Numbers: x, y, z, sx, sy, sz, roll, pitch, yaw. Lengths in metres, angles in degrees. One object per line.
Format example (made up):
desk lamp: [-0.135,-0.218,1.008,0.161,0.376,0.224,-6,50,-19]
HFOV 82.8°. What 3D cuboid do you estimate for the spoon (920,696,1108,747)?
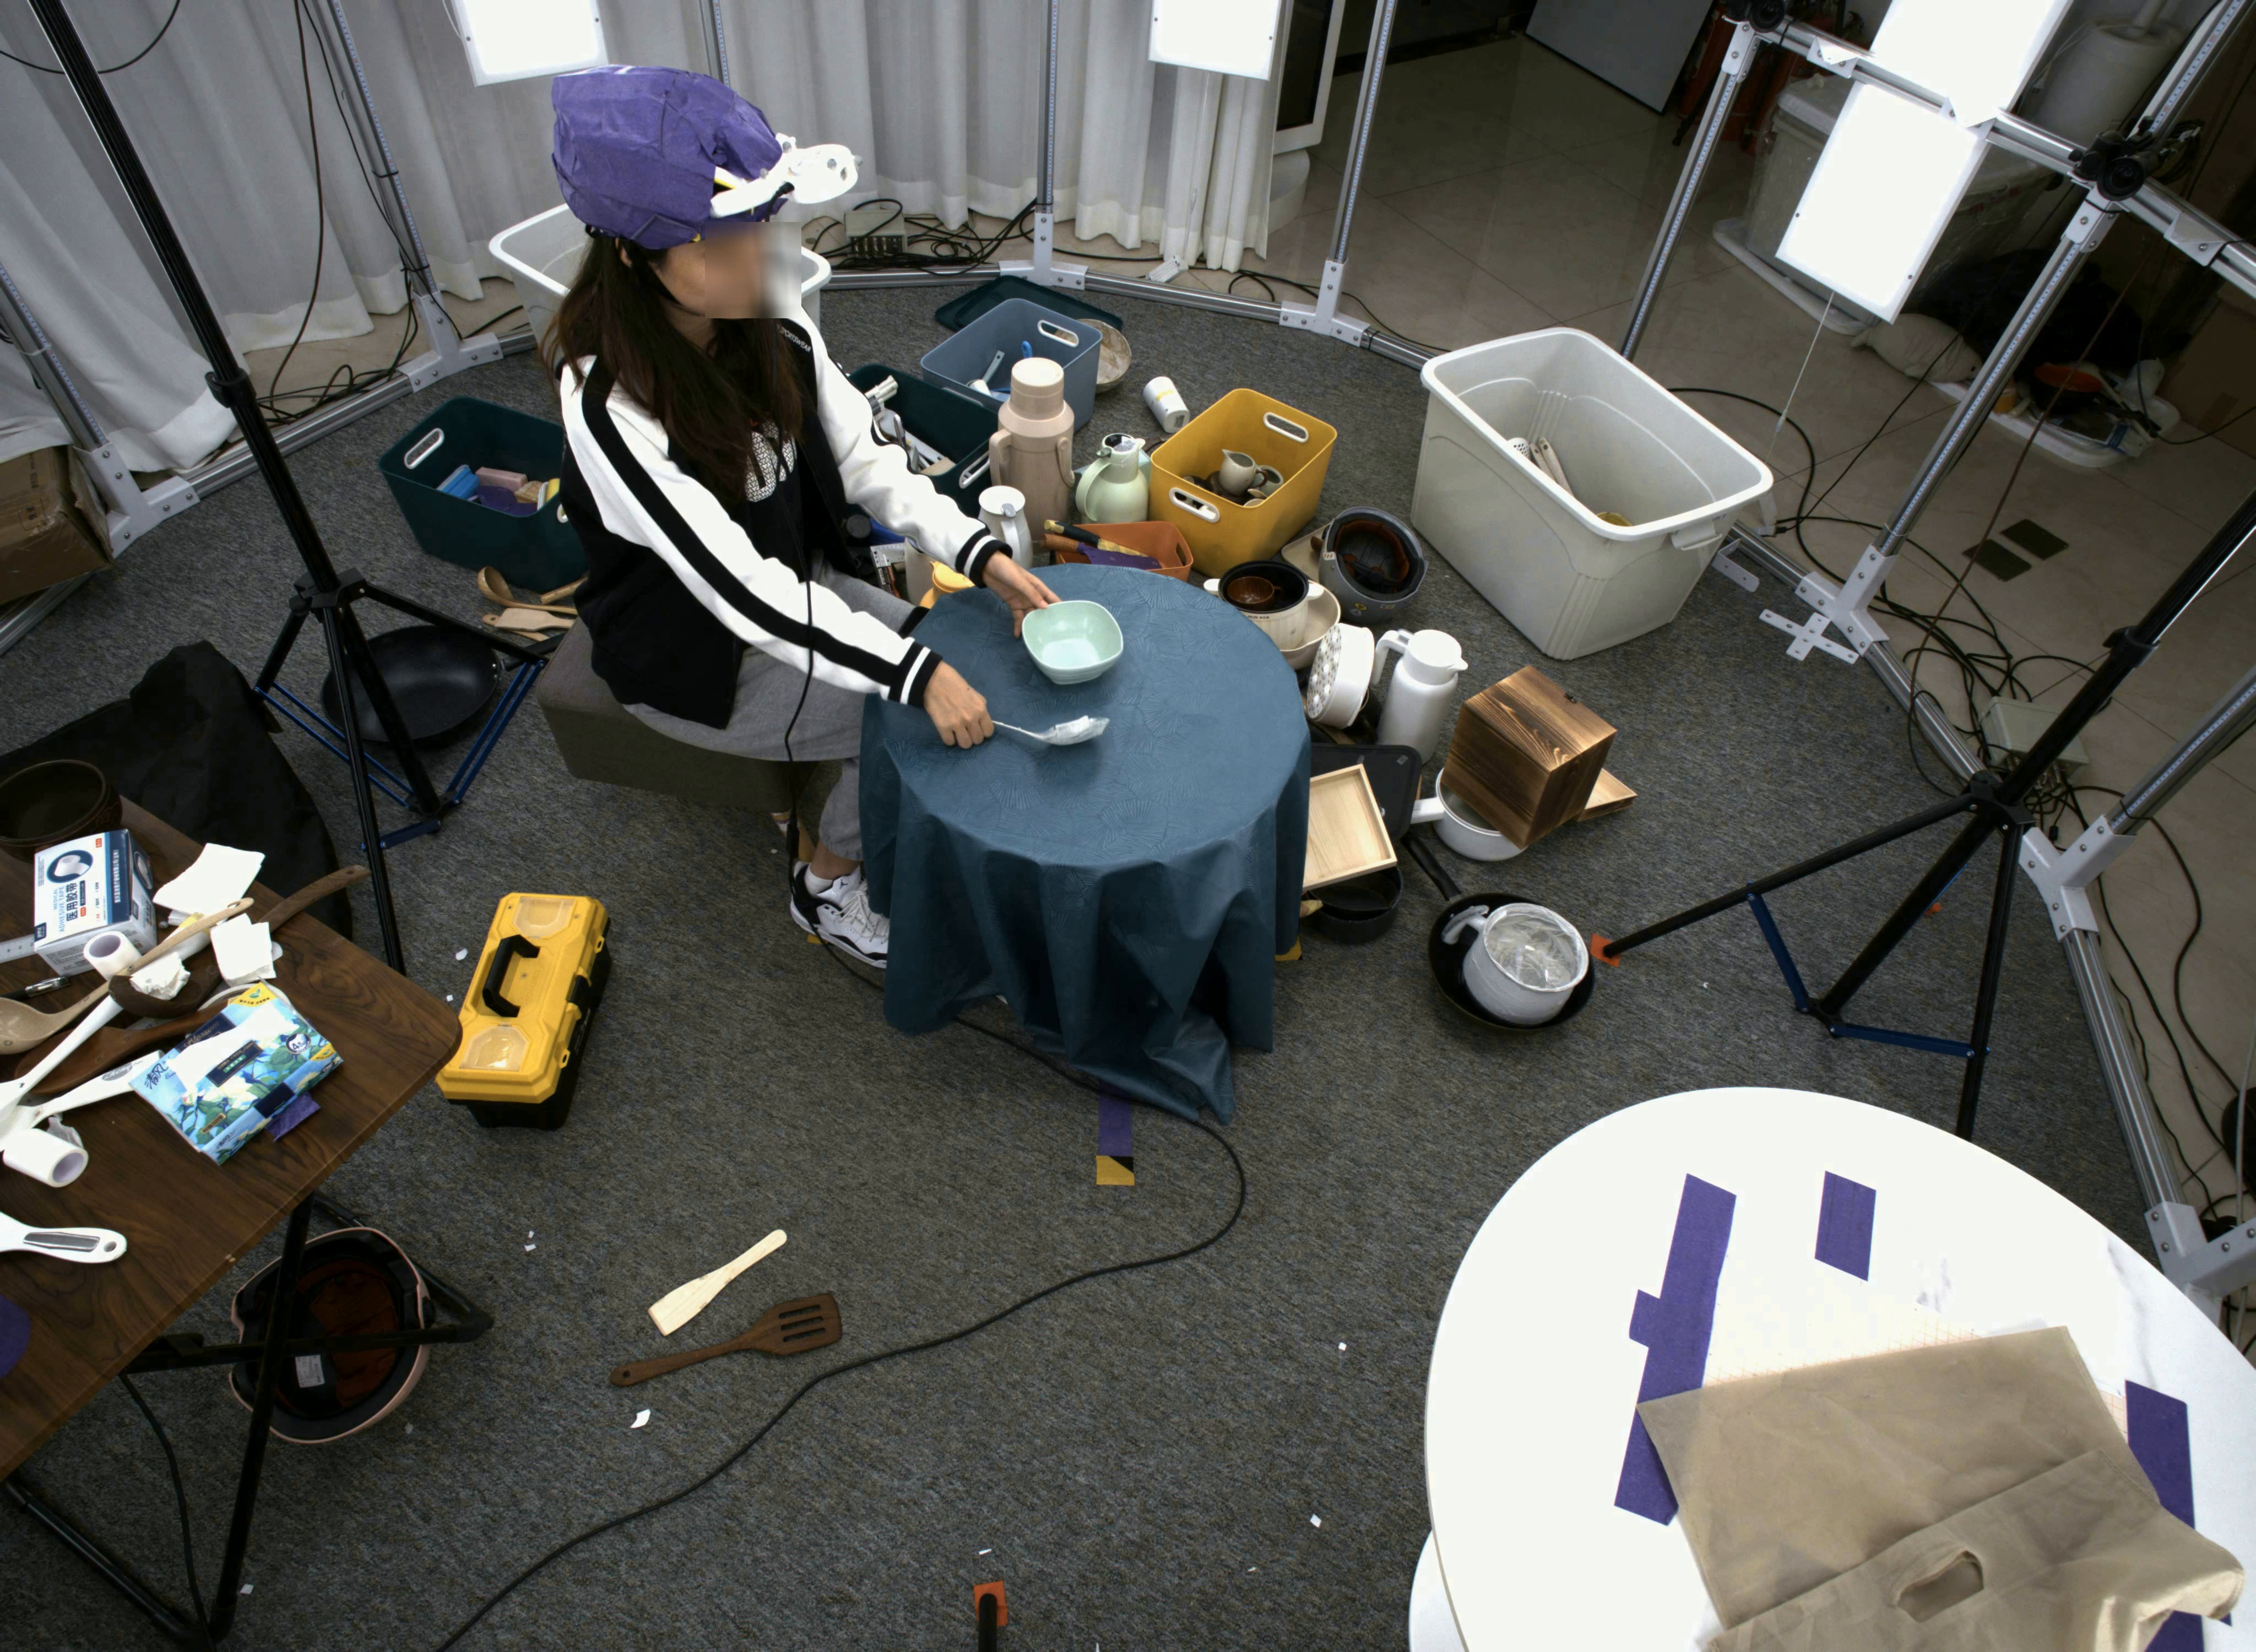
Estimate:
spoon: [-0.160,-0.161,1.767,0.280,0.100,0.059,20,90,22]

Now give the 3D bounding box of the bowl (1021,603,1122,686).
bowl: [-0.081,-0.254,1.851,0.151,0.057,0.155,2,49,-2]
